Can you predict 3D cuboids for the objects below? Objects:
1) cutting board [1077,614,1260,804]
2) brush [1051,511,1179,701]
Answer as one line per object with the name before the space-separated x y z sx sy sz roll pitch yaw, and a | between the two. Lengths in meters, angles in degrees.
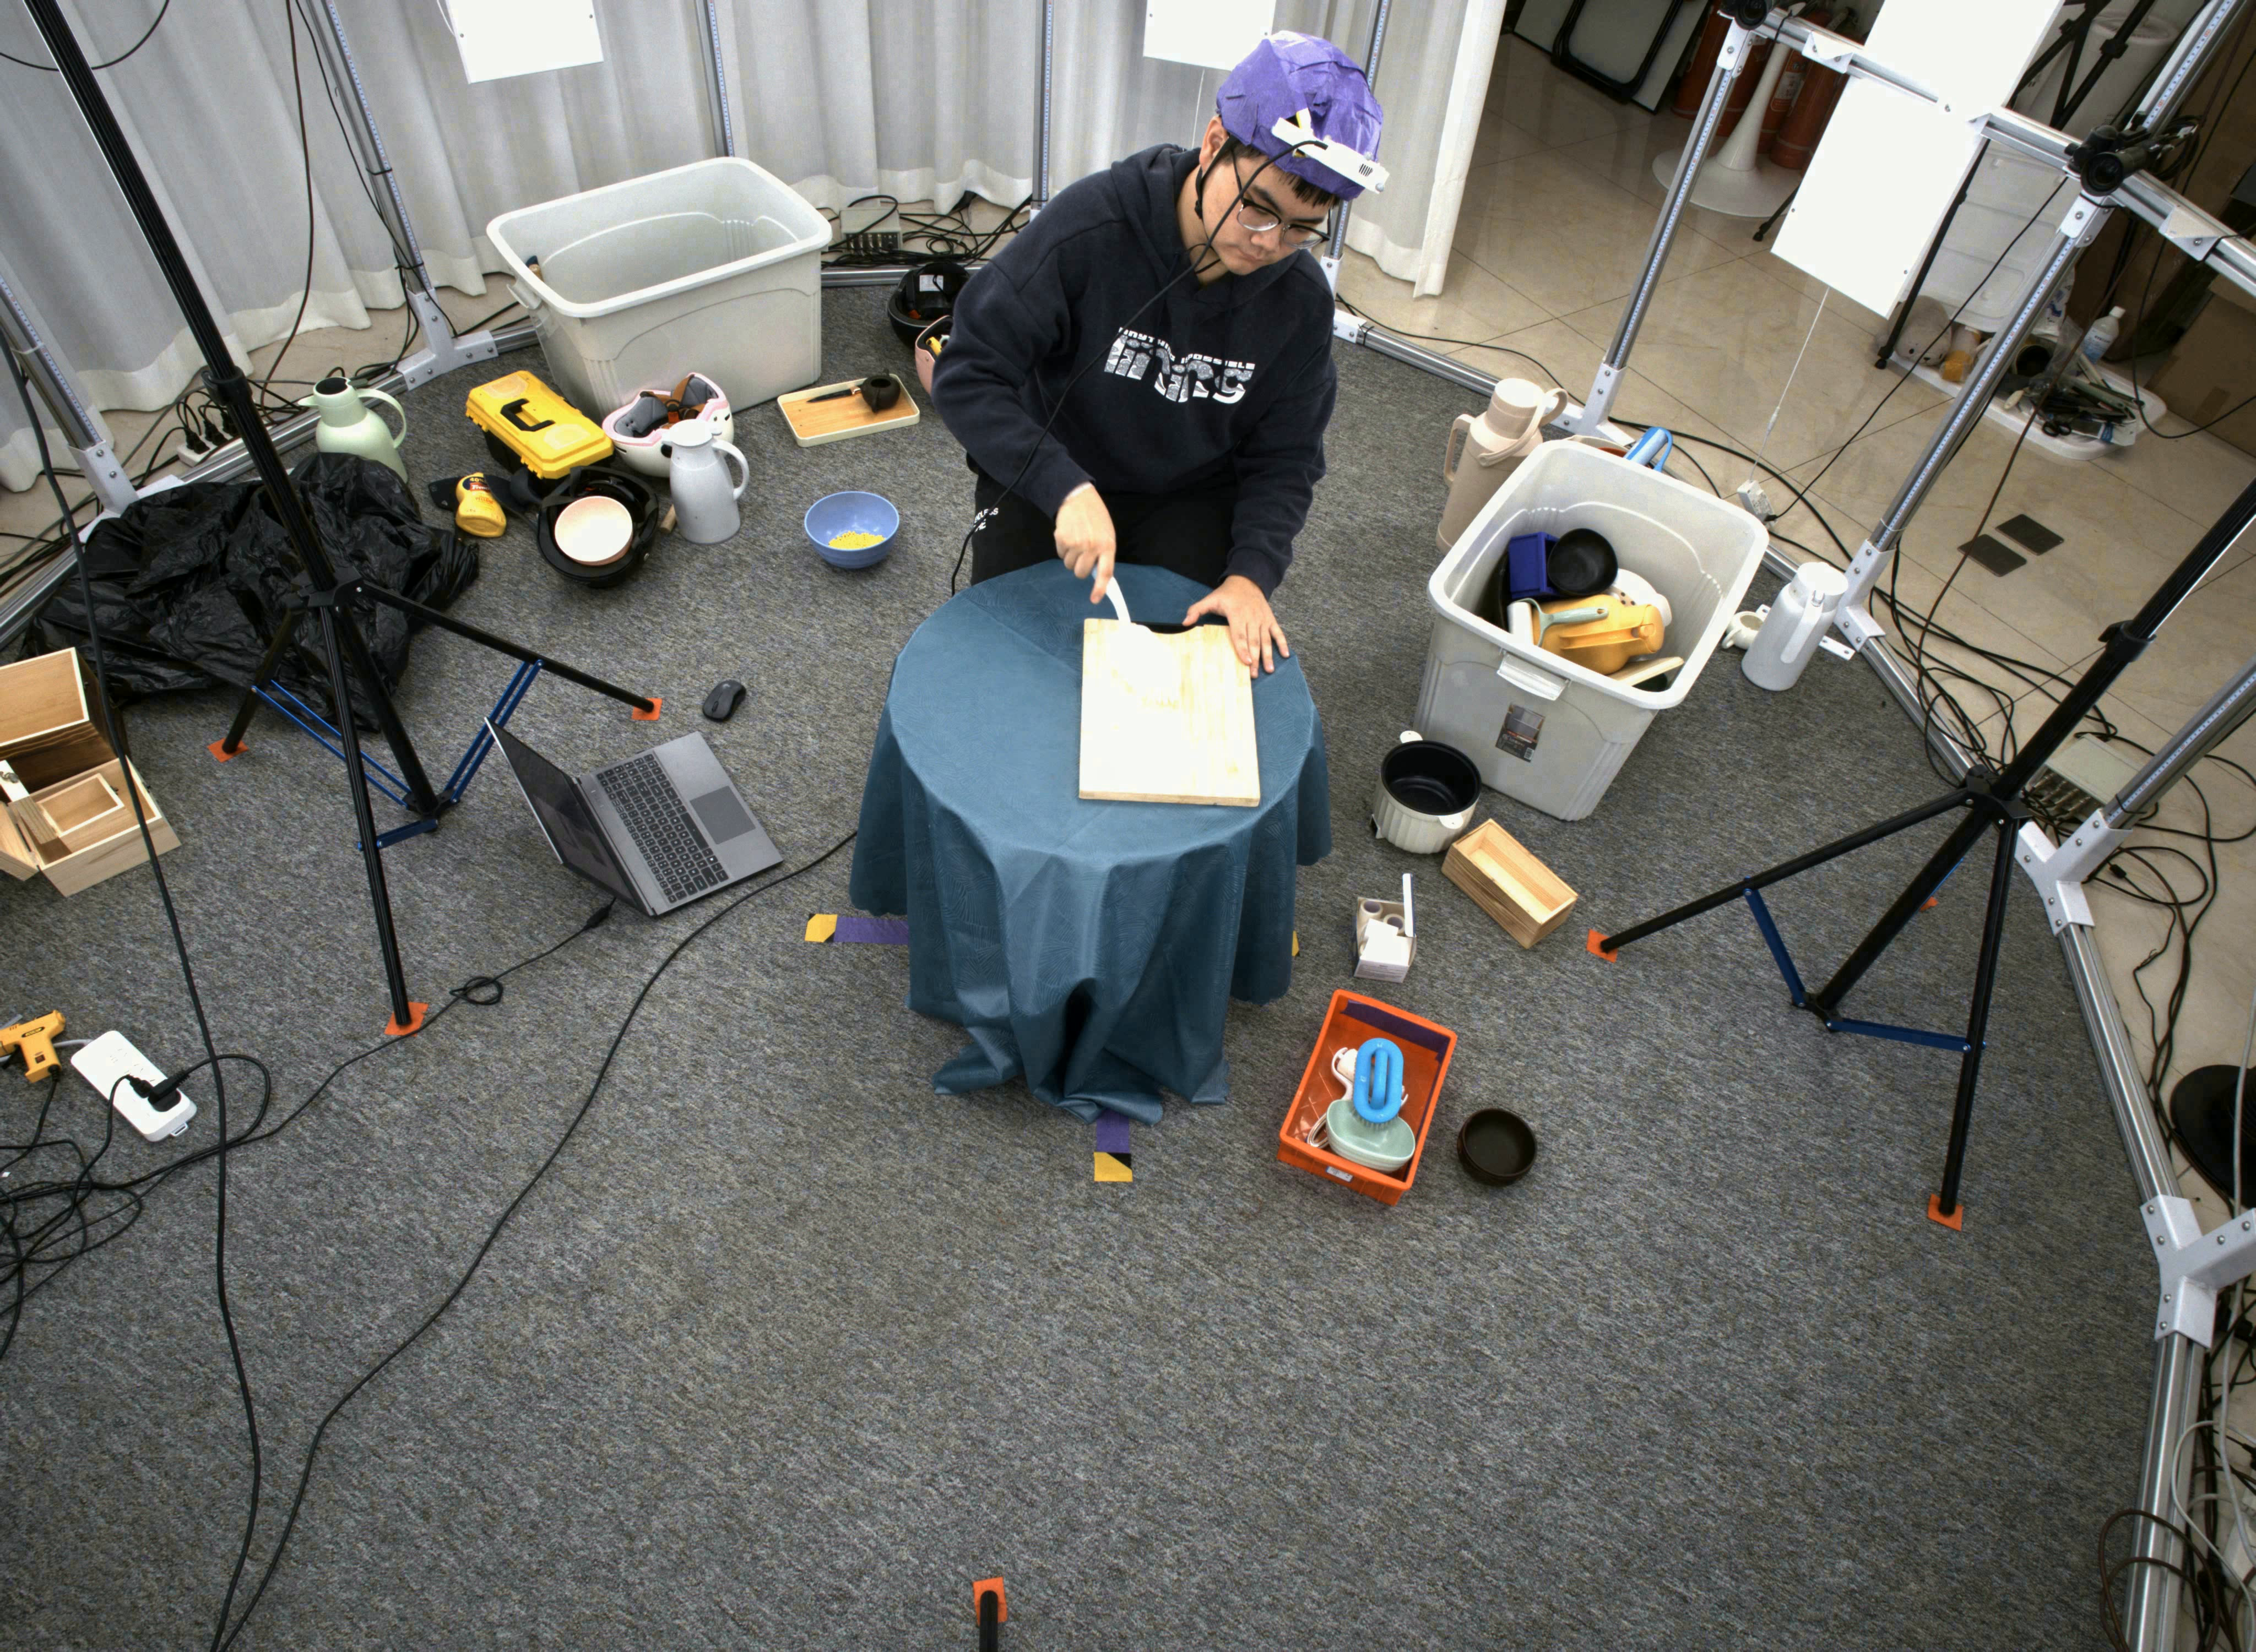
cutting board | 0.055 -0.171 1.808 0.250 0.023 0.357 2 49 -3
brush | -0.022 -0.311 1.846 0.083 0.083 0.329 -8 61 -55
